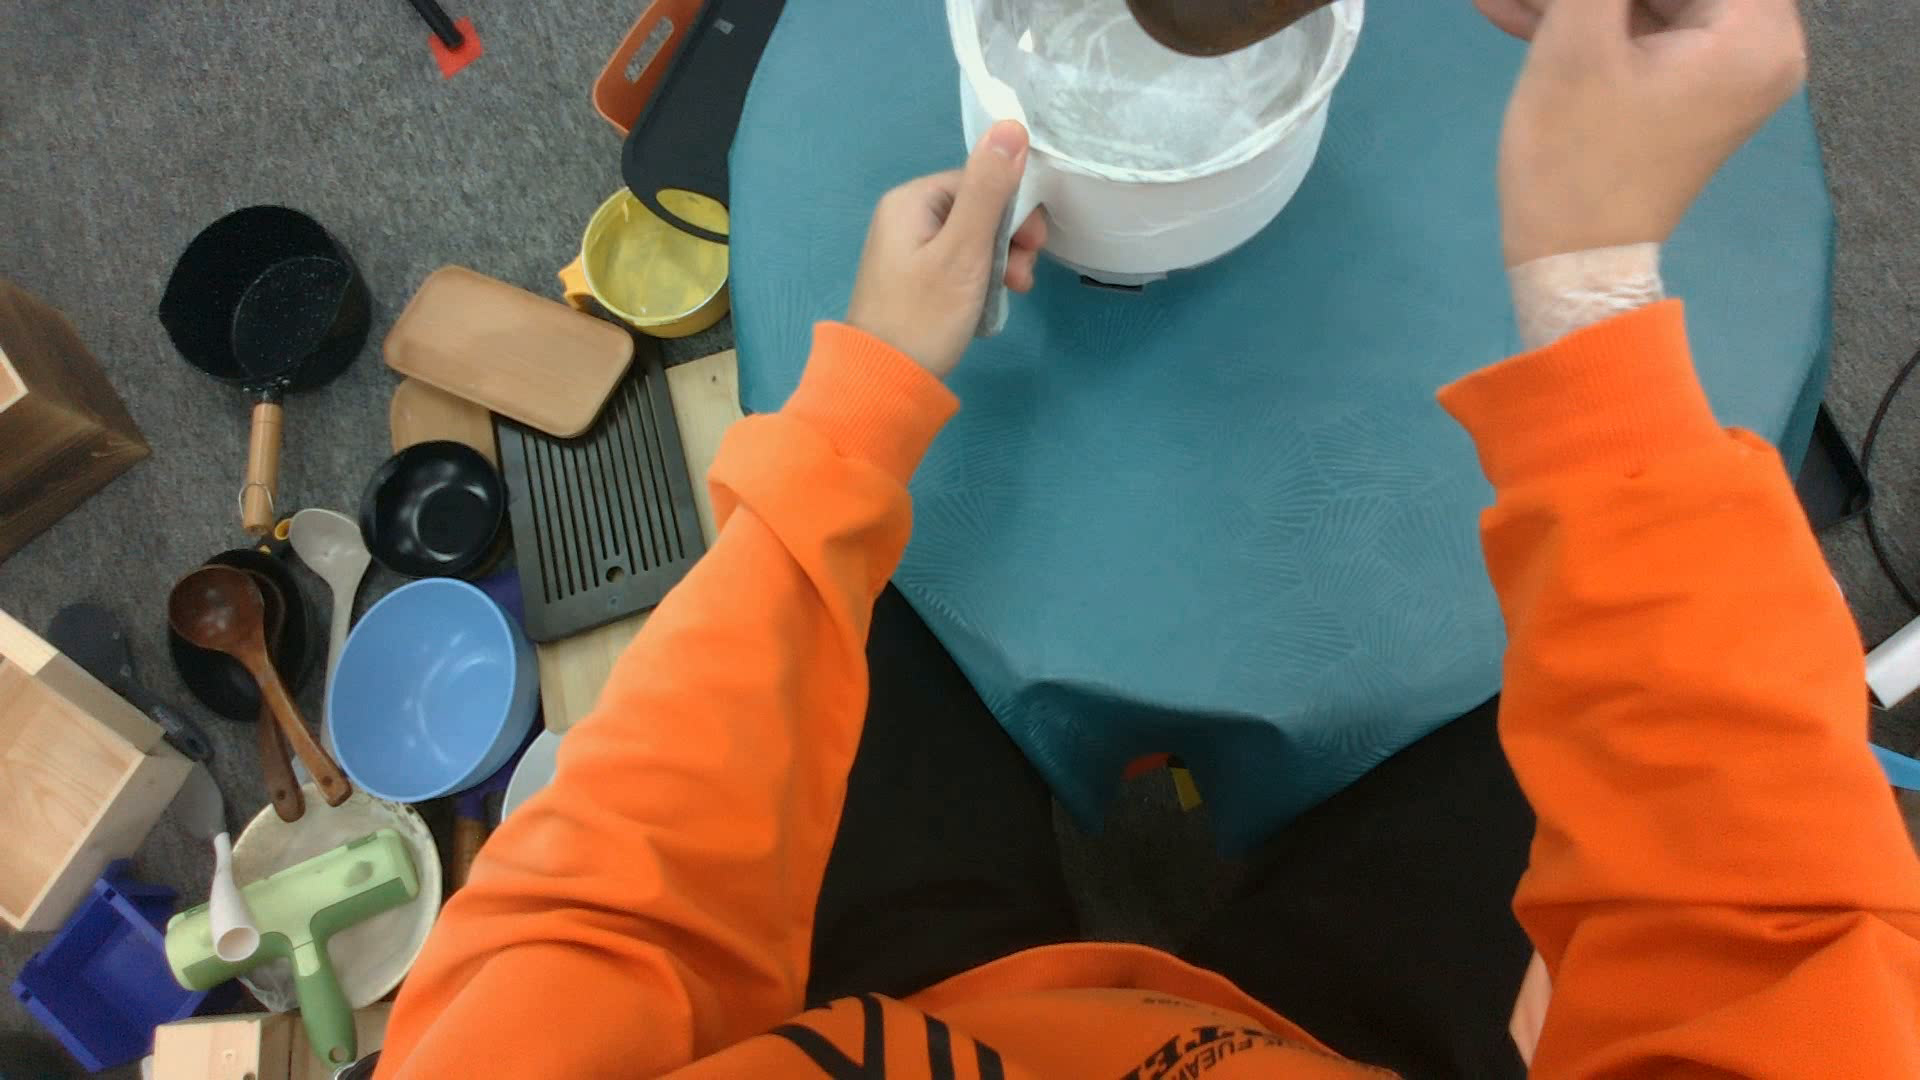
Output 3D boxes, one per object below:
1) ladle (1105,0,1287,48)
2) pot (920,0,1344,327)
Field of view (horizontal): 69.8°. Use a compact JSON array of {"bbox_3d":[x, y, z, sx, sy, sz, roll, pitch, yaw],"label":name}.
[{"bbox_3d":[0.159,-0.214,0.471,0.274,0.071,0.076,19,108,49],"label":"ladle"},{"bbox_3d":[0.063,-0.207,0.650,0.179,0.136,0.234,37,83,10],"label":"pot"}]
